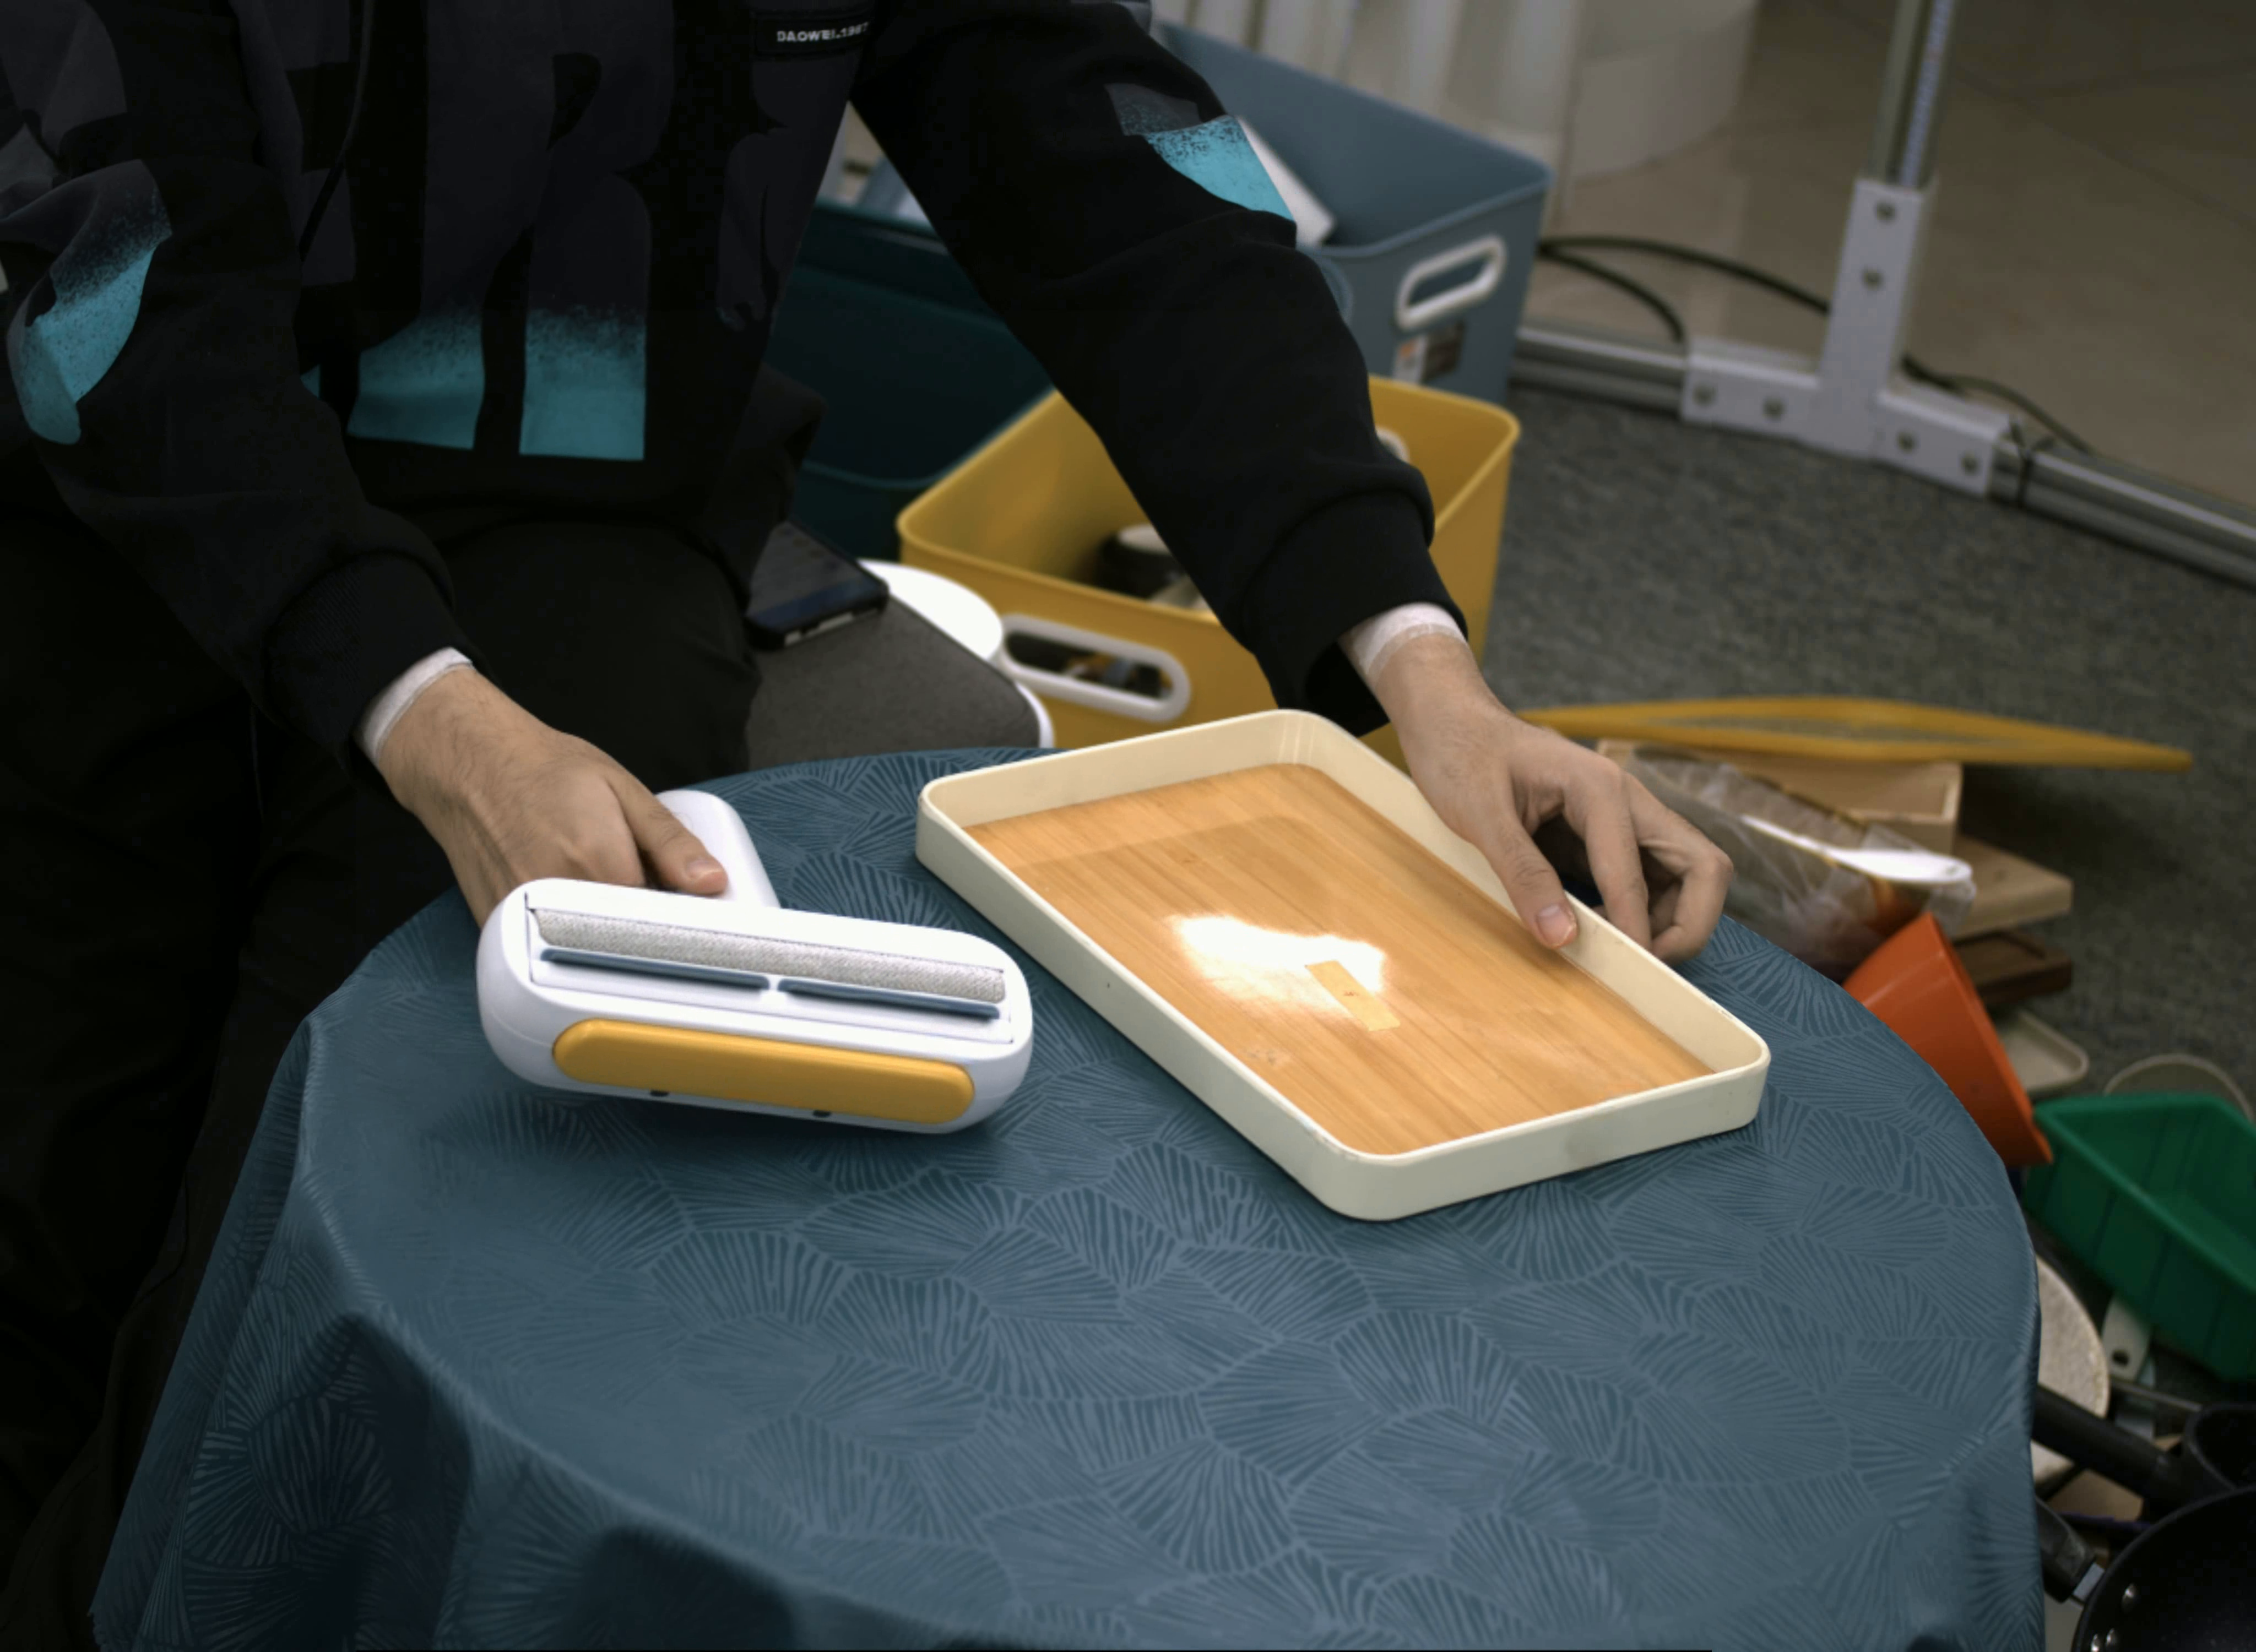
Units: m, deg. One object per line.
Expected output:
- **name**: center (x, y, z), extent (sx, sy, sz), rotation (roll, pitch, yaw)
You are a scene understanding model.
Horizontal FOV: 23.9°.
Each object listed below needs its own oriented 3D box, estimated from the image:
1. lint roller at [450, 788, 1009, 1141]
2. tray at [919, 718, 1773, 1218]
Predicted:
- **lint roller**: center (-0.142, 0.033, 1.852), extent (0.192, 0.074, 0.194), rotation (7, 35, -12)
- **tray**: center (0.074, 0.046, 1.939), extent (0.190, 0.027, 0.303), rotation (-11, 32, -32)
